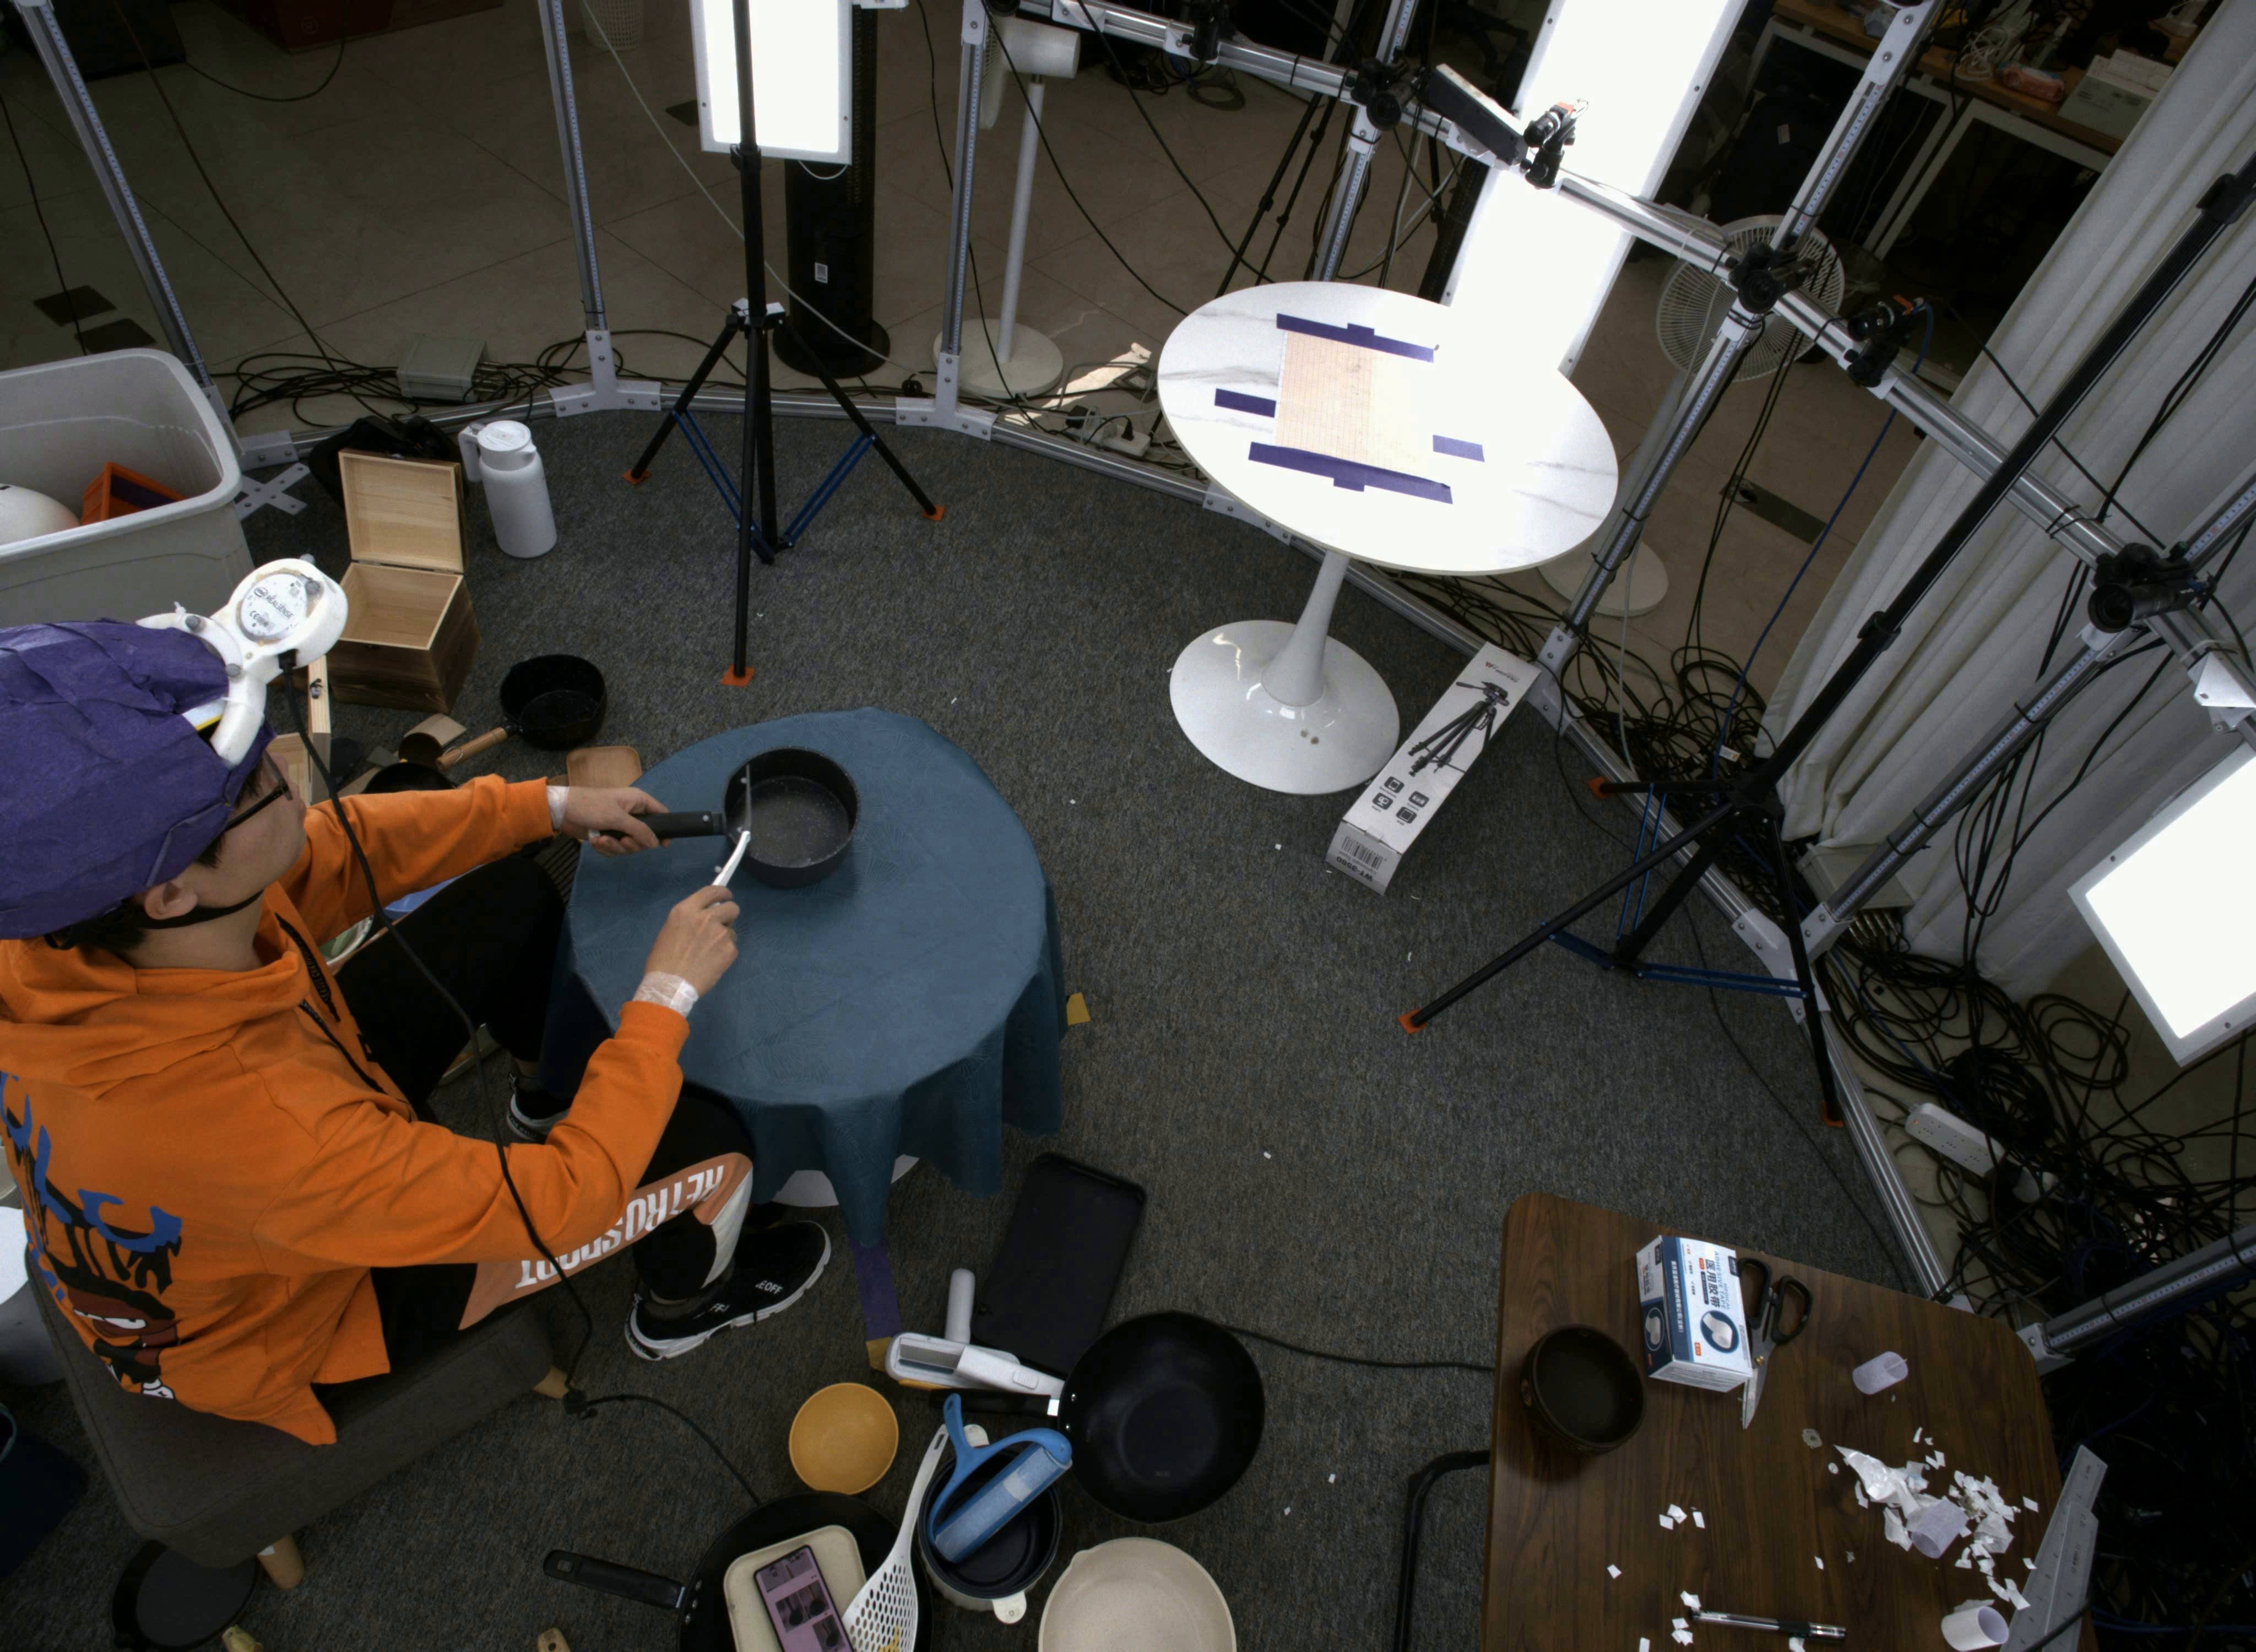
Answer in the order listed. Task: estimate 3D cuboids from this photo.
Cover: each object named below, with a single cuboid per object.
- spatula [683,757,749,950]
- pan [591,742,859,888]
[{"bbox_3d":[-0.470,0.028,1.510,0.032,0.060,0.281,4,43,-3],"label":"spatula"},{"bbox_3d":[-0.503,-0.005,1.610,0.331,0.087,0.169,-5,66,-23],"label":"pan"}]
